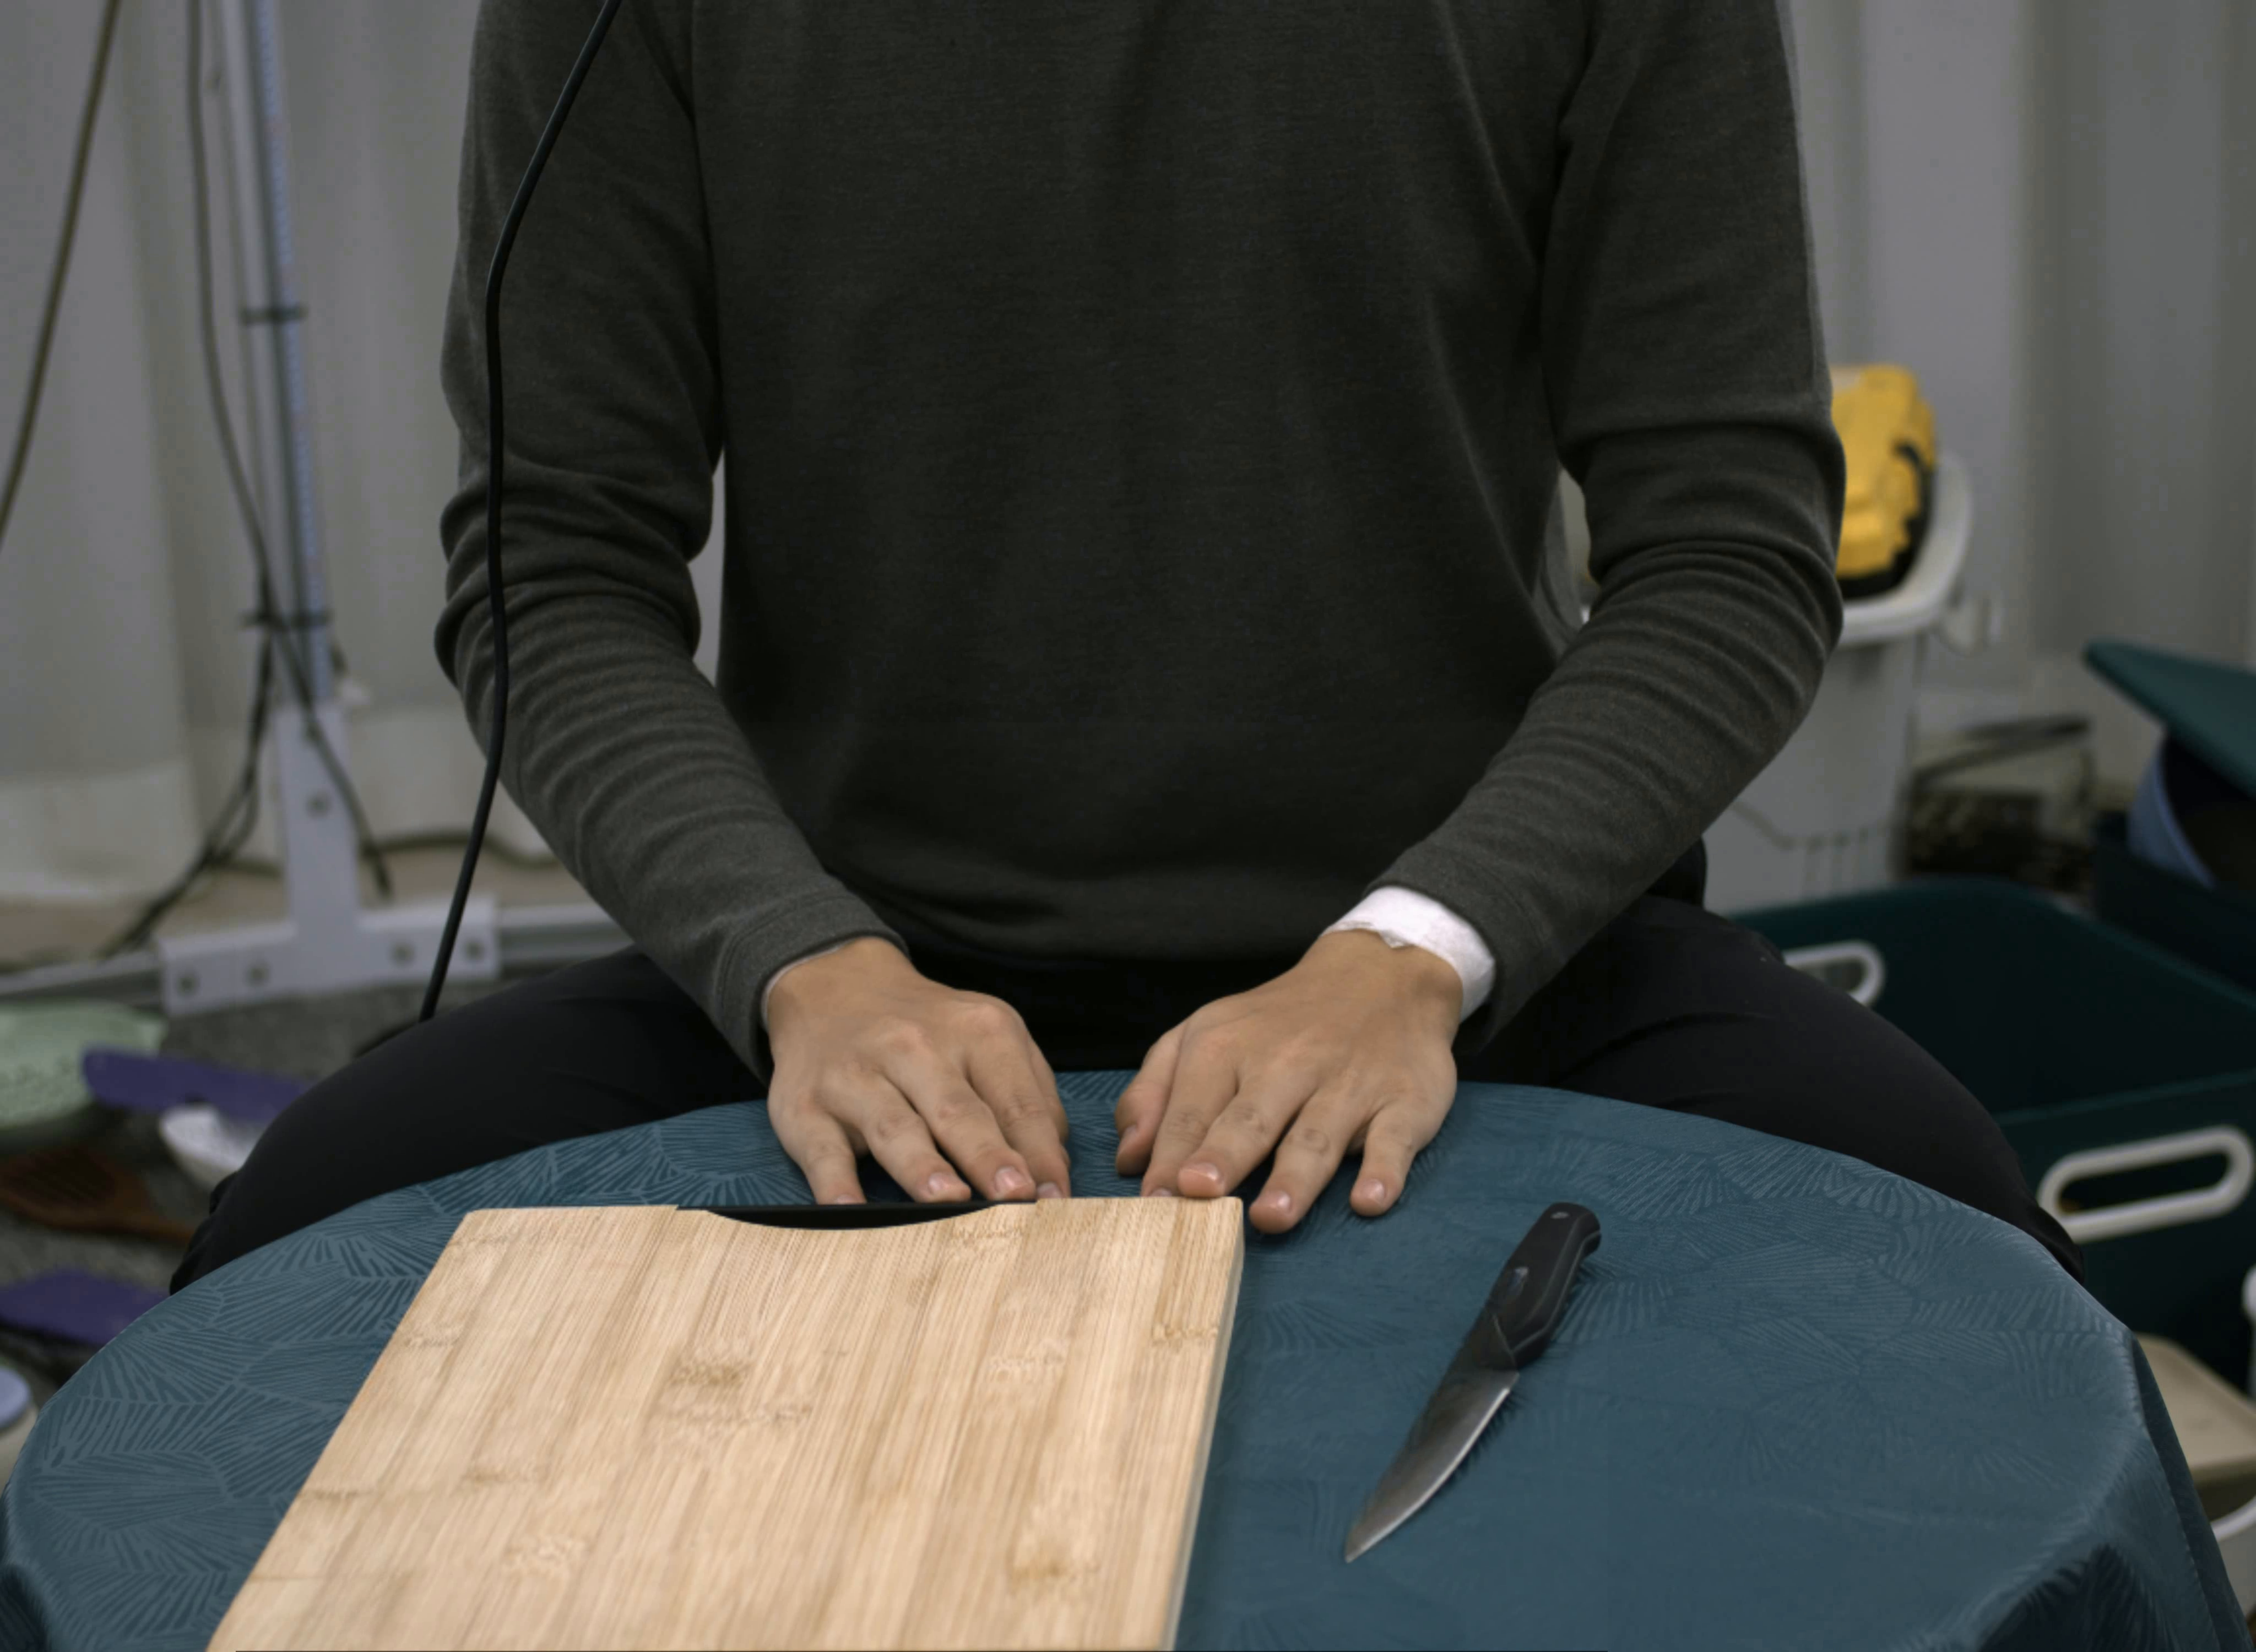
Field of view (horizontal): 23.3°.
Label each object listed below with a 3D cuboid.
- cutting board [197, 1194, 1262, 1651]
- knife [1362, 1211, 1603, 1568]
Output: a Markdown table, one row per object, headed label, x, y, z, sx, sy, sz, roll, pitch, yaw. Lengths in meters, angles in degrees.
| label | x | y | z | sx | sy | sz | roll | pitch | yaw |
| --- | --- | --- | --- | --- | --- | --- | --- | --- | --- |
| cutting board | -0.095 | 0.167 | 1.508 | 0.250 | 0.023 | 0.351 | -1 | 15 | 4 |
| knife | 0.096 | 0.156 | 1.523 | 0.024 | 0.016 | 0.239 | 0 | 17 | 19 |
